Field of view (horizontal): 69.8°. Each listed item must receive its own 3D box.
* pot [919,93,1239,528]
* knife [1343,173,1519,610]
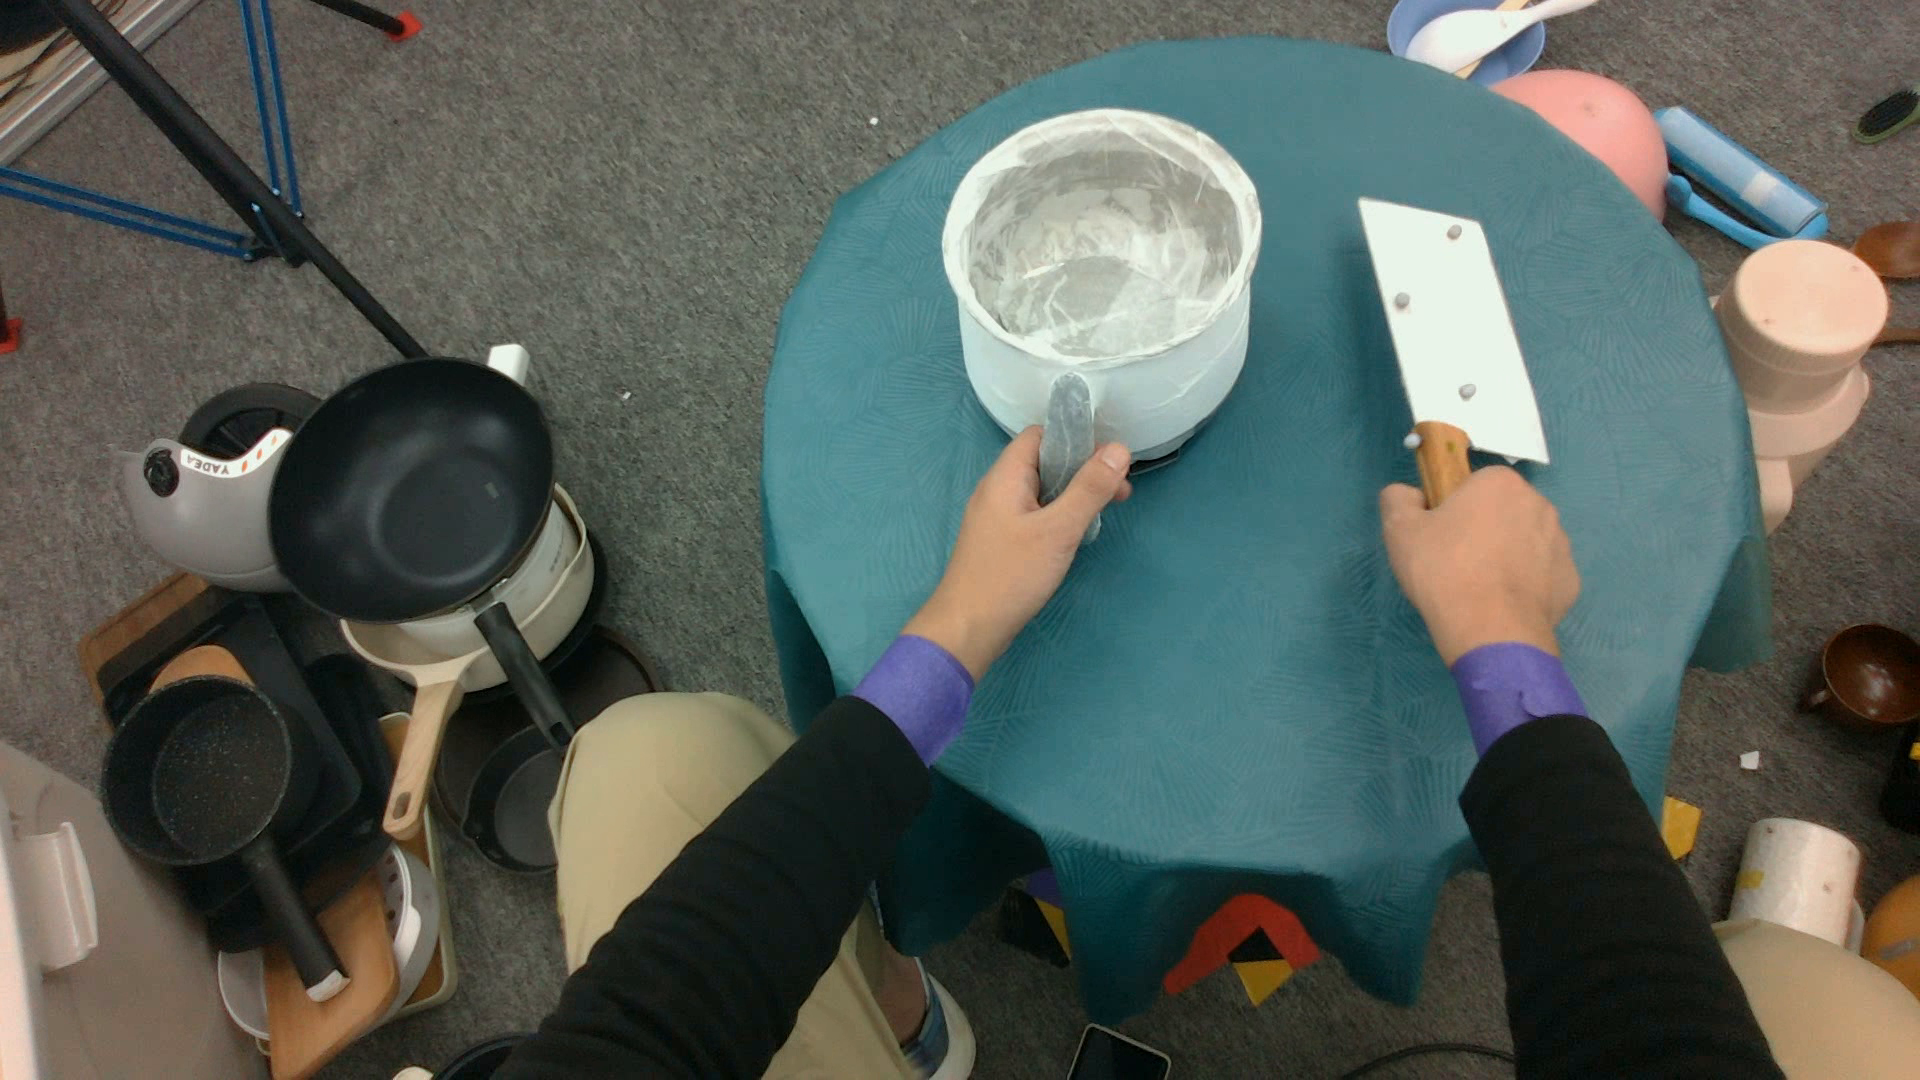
[{"bbox_3d":[0.068,-0.130,0.809,0.178,0.136,0.234,5,63,10],"label":"pot"},{"bbox_3d":[0.284,-0.094,0.805,0.093,0.021,0.307,11,58,-22],"label":"knife"}]
